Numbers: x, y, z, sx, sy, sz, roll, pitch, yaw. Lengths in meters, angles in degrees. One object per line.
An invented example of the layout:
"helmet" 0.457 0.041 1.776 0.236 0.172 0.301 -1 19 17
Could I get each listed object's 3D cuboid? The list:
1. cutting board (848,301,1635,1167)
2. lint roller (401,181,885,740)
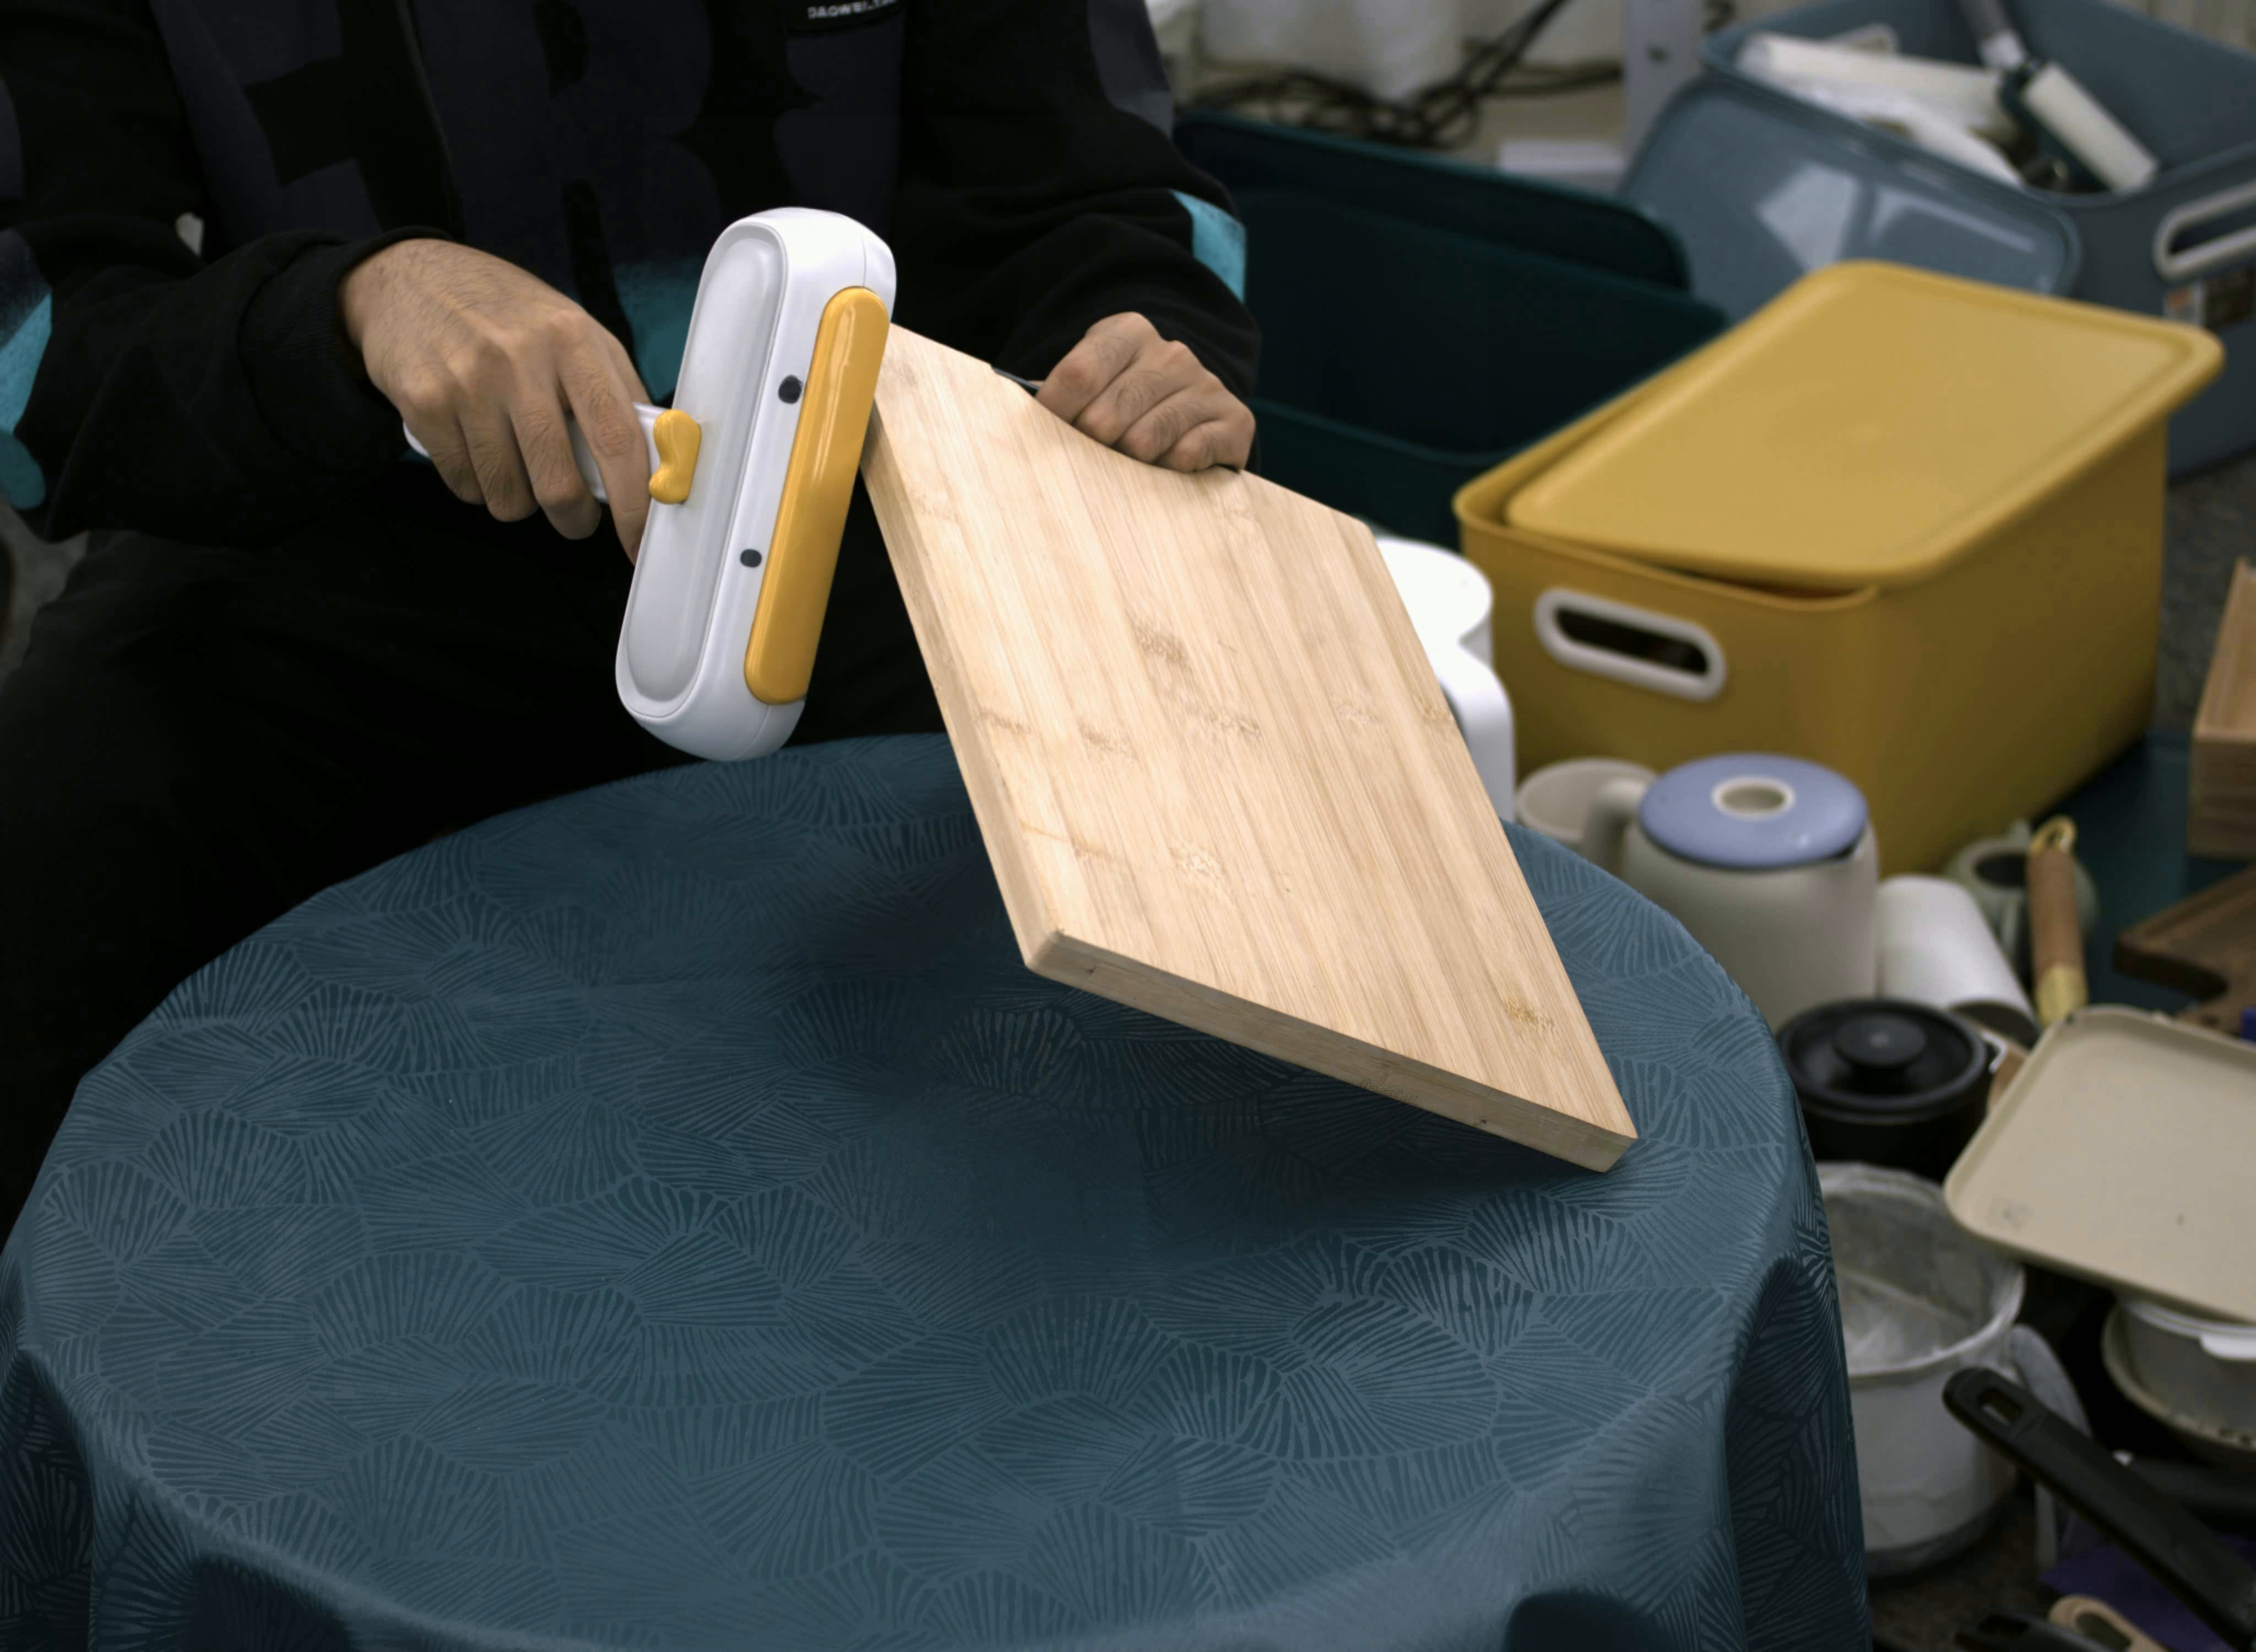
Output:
"cutting board" 0.027 -0.037 1.926 0.250 0.023 0.354 21 30 -31
"lint roller" -0.174 -0.132 1.972 0.191 0.193 0.074 8 1 43
